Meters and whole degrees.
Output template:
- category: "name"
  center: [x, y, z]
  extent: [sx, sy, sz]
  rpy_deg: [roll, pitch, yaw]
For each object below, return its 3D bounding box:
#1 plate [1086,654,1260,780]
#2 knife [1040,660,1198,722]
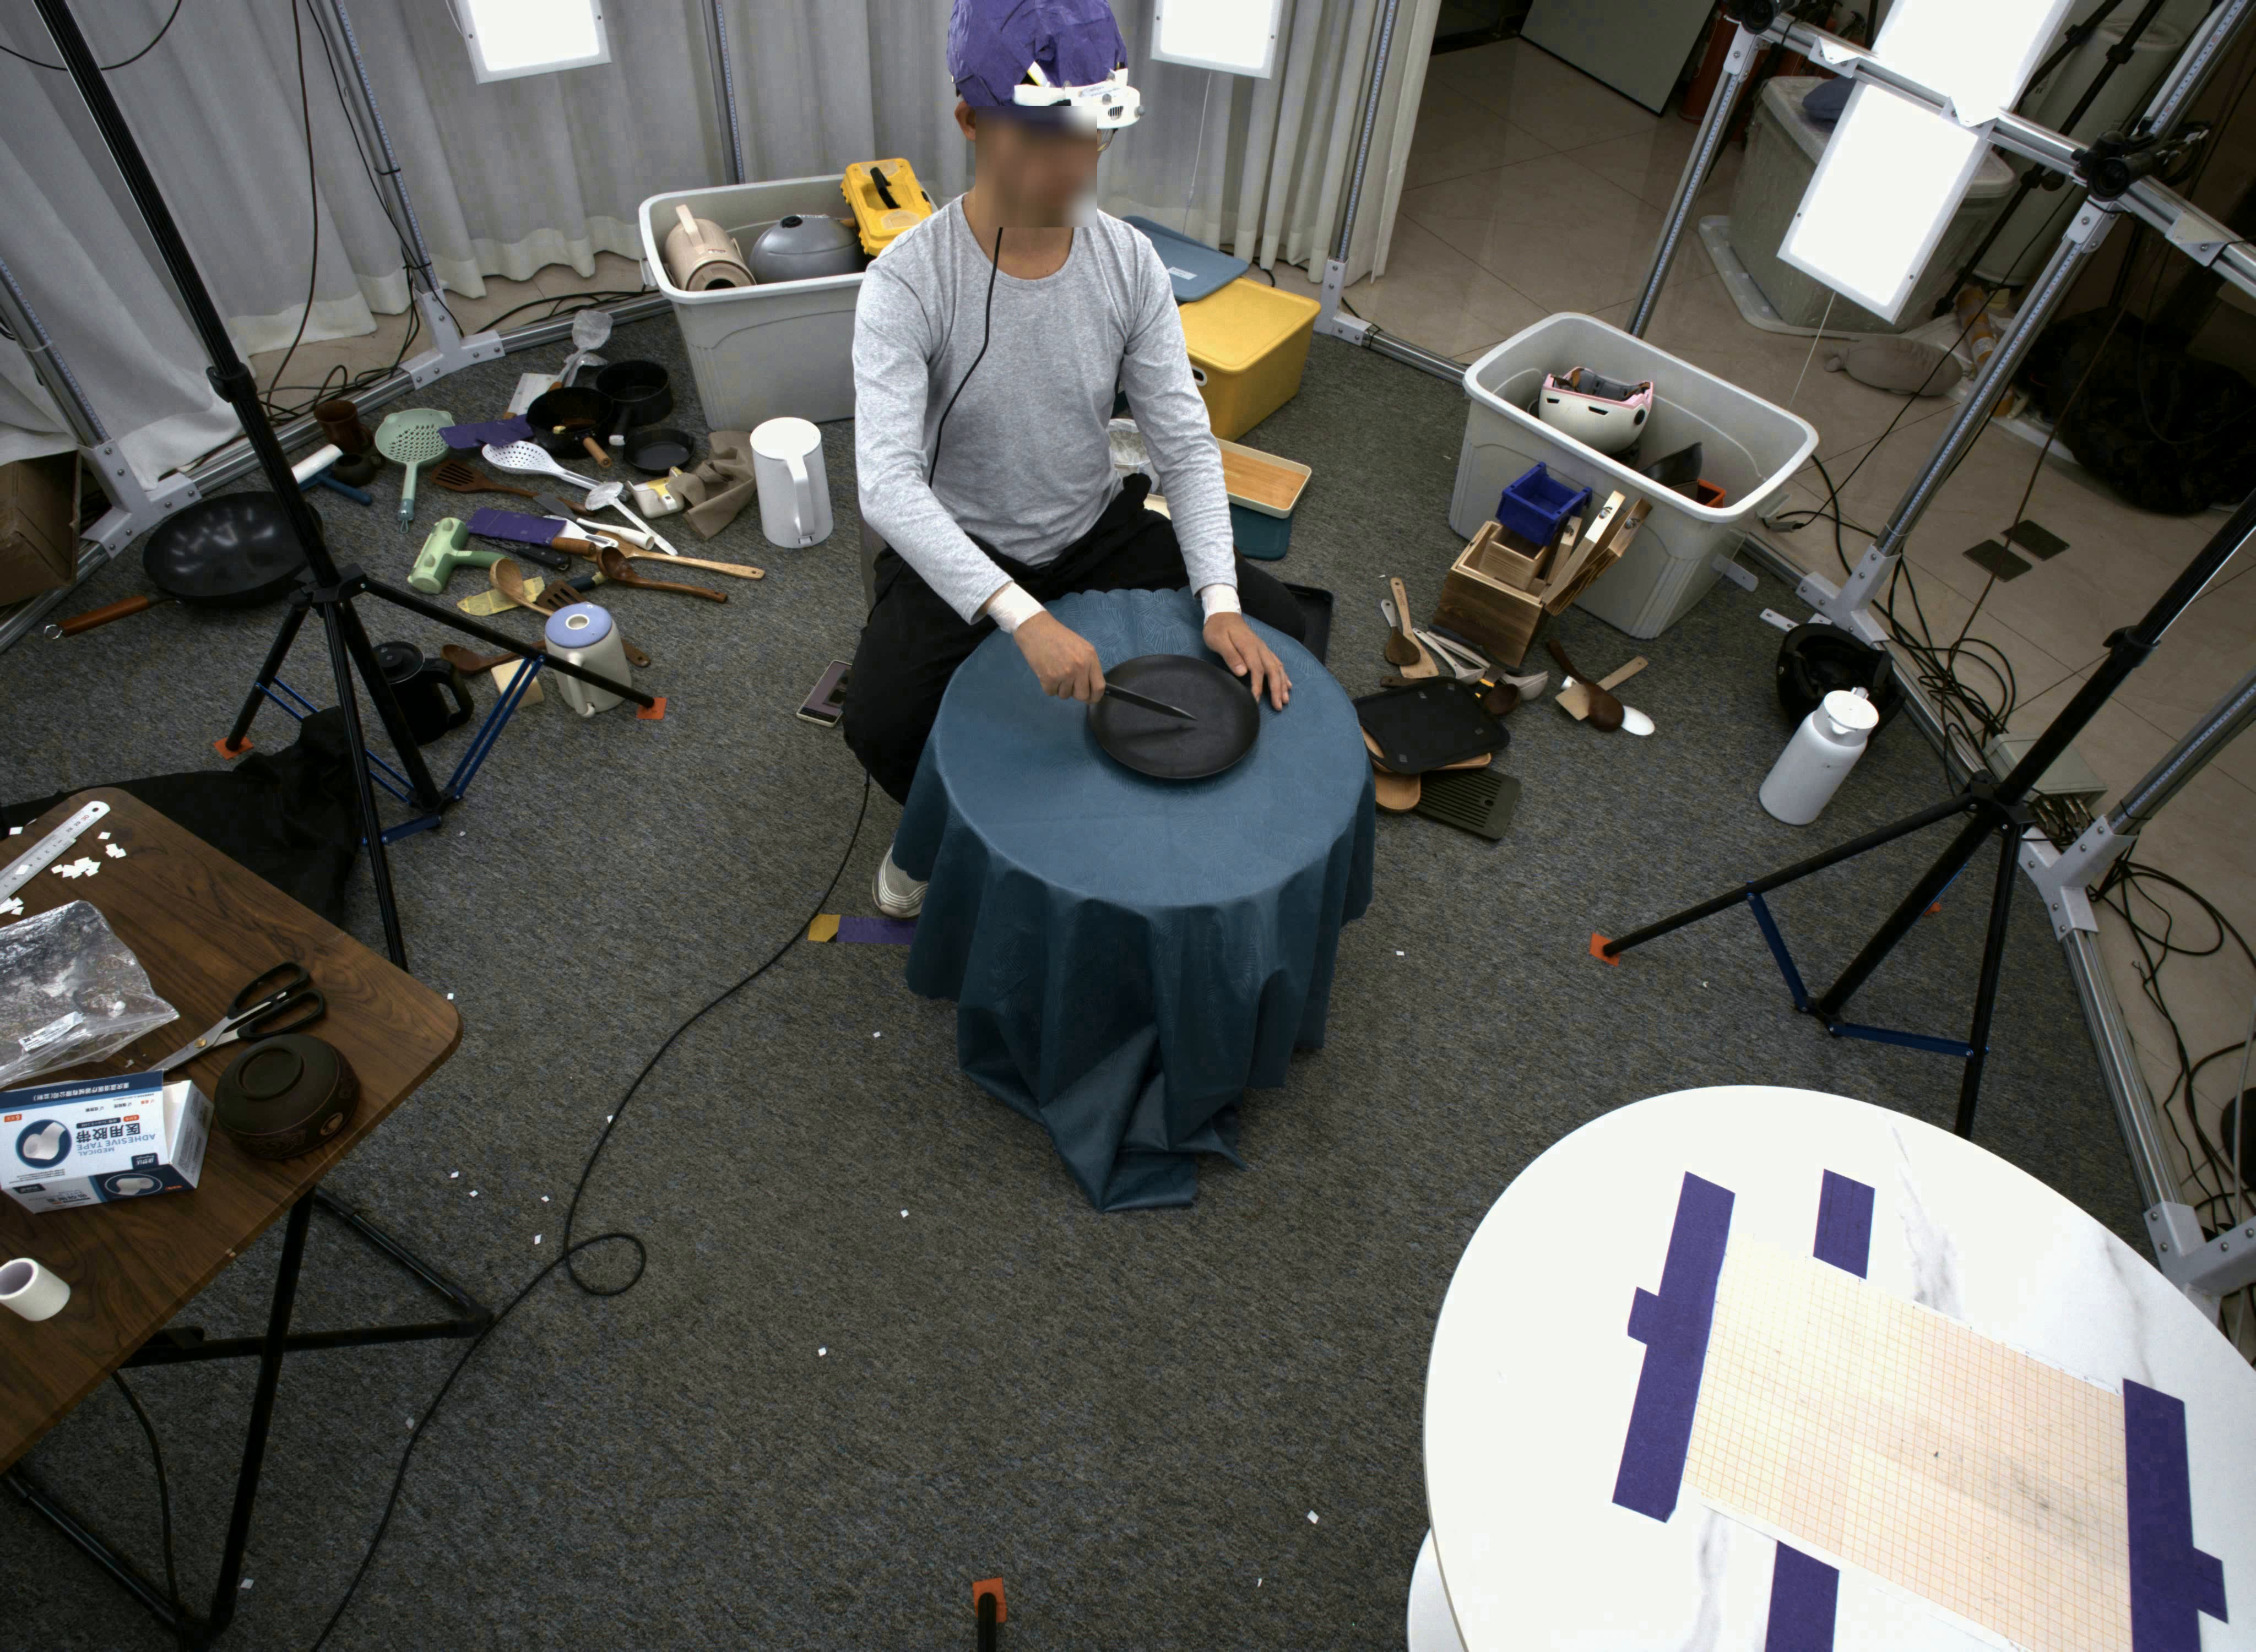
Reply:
- category: "plate"
  center: [0.063, -0.150, 1.788]
  extent: [0.244, 0.023, 0.250]
  rpy_deg: [2, 49, -2]
- category: "knife"
  center: [-0.007, -0.181, 1.741]
  extent: [0.236, 0.024, 0.017]
  rpy_deg: [18, 48, -18]
